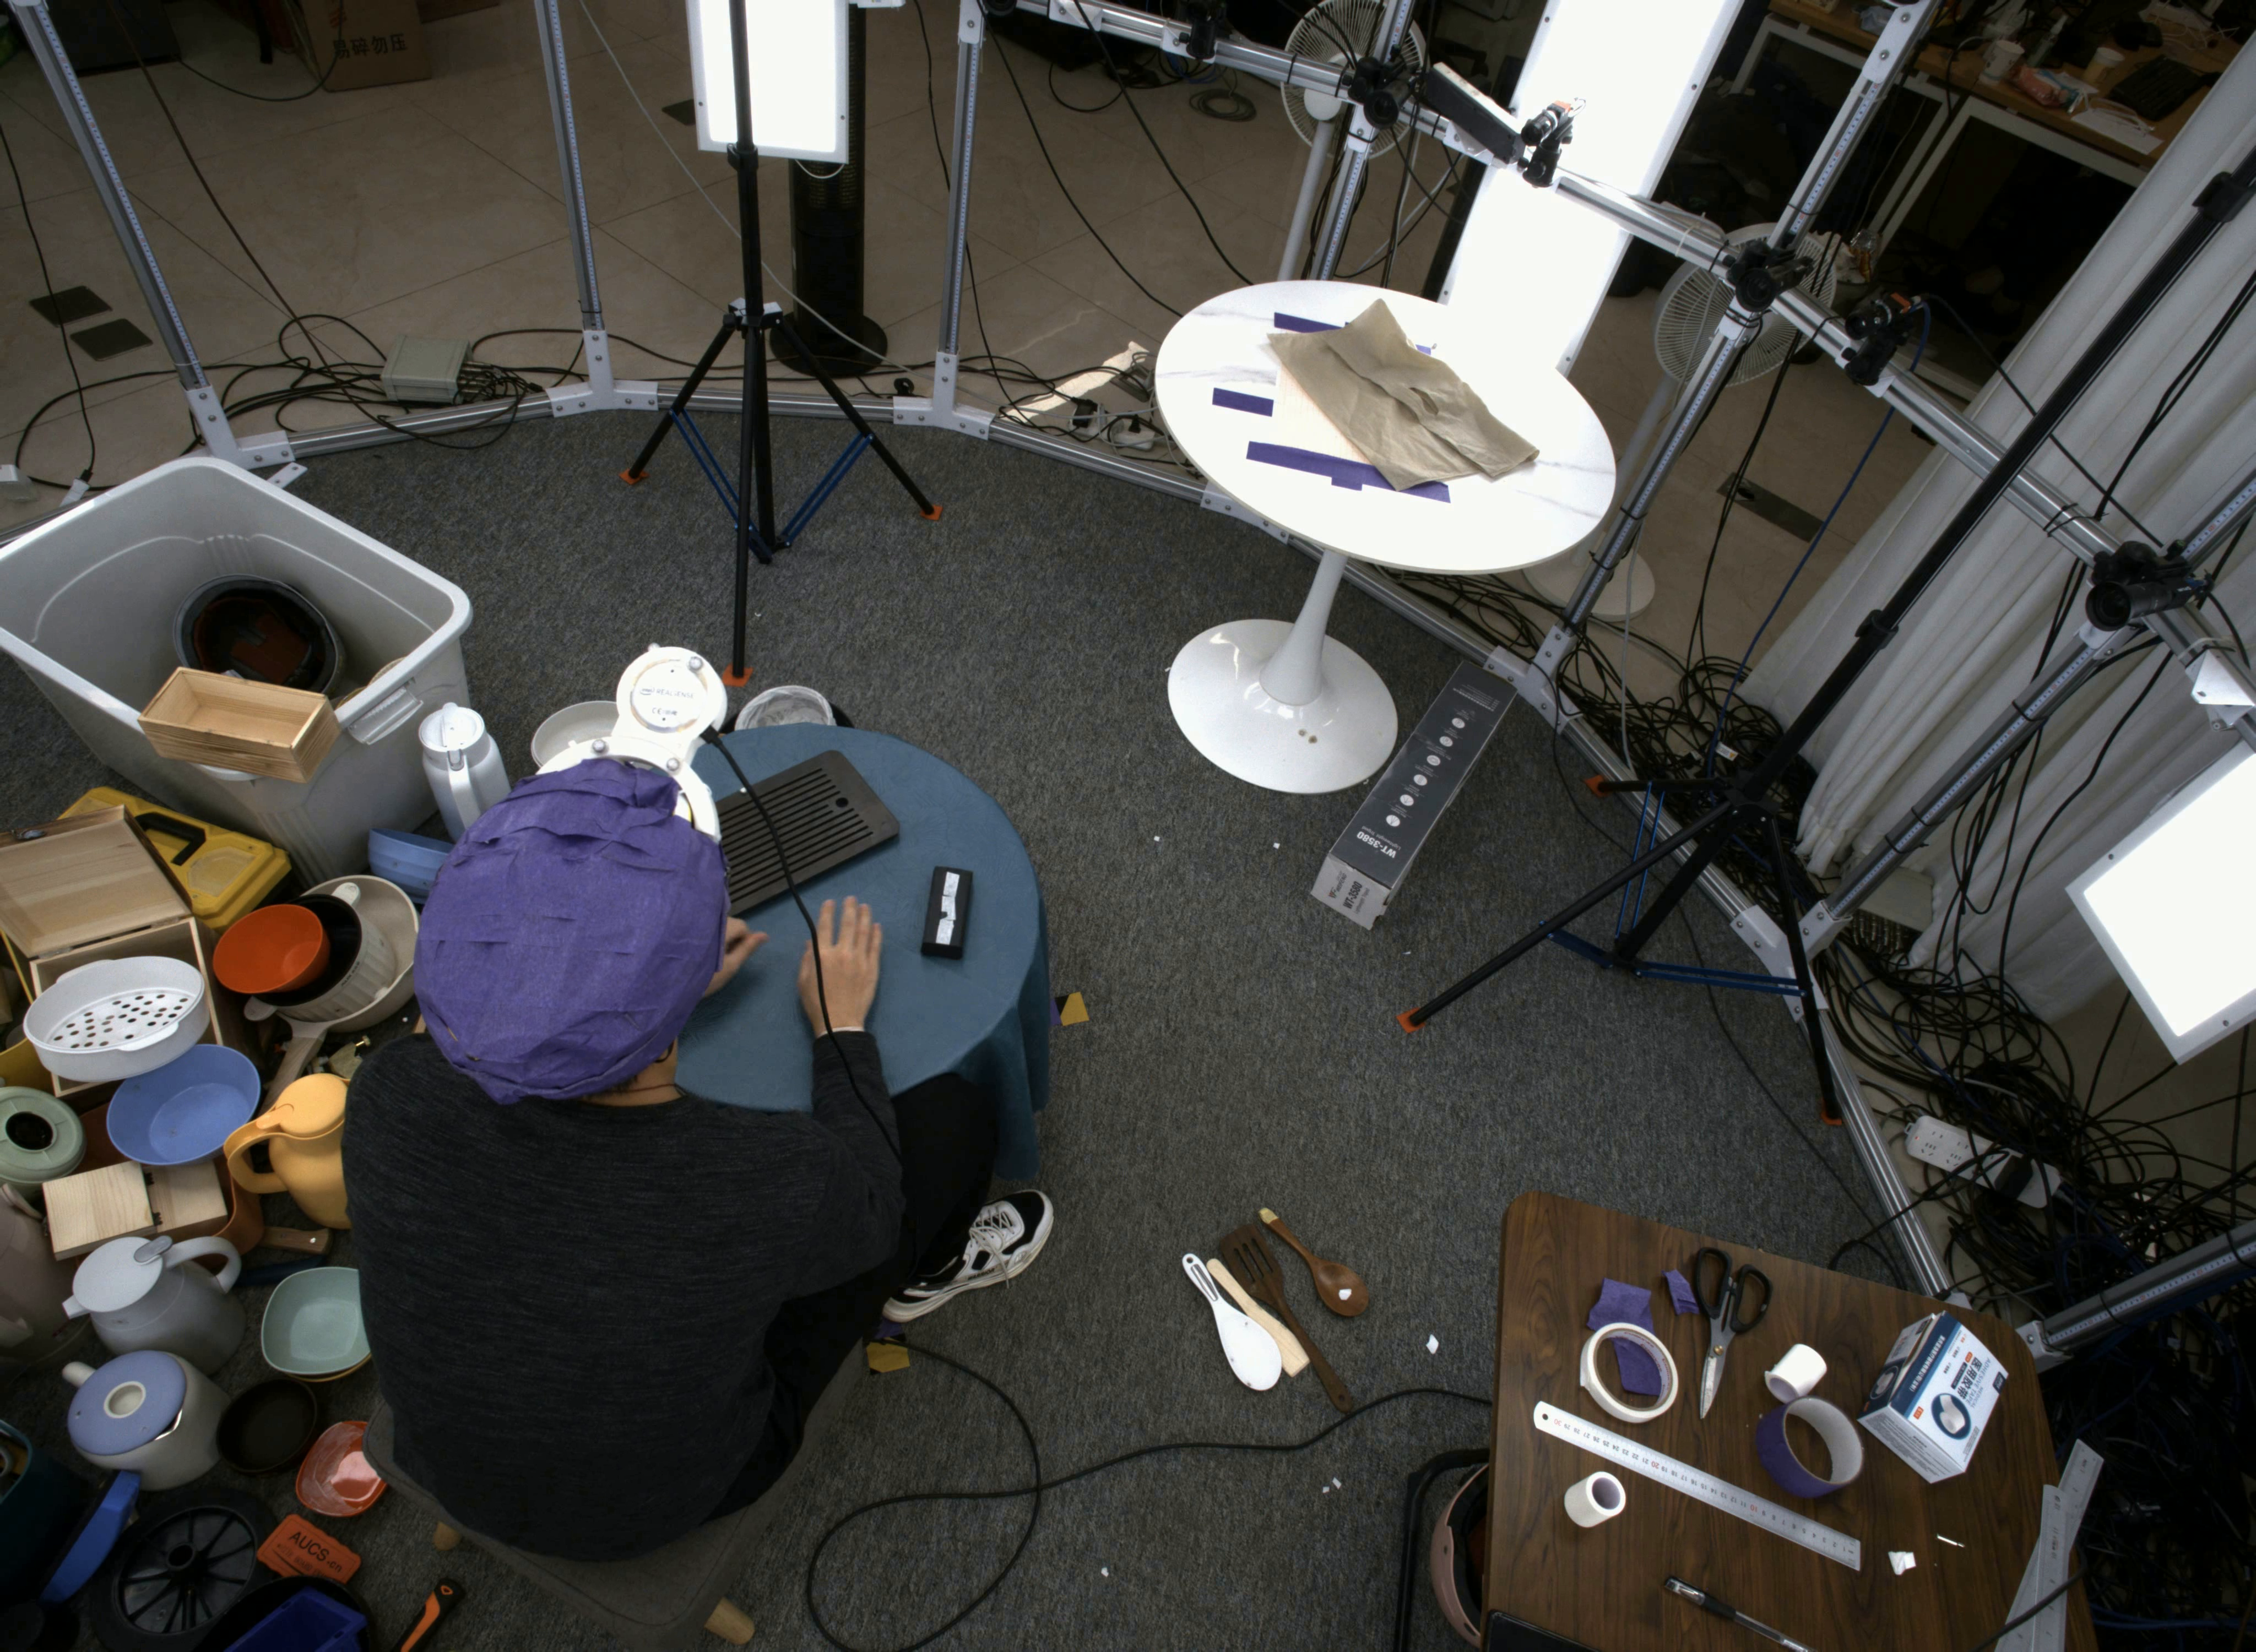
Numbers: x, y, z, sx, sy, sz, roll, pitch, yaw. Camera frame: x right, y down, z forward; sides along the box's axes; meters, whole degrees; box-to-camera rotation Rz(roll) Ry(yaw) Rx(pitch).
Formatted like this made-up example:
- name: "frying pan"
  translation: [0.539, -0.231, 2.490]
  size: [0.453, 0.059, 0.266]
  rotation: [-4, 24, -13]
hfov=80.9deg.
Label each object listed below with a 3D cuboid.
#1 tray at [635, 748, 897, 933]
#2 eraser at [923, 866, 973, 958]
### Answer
- name: "tray"
  translation: [-0.468, 0.013, 1.686]
  size: [0.307, 0.019, 0.166]
  rotation: [-29, 66, -31]
- name: "eraser"
  translation: [-0.230, 0.107, 1.672]
  size: [0.053, 0.031, 0.123]
  rotation: [6, 54, -6]
